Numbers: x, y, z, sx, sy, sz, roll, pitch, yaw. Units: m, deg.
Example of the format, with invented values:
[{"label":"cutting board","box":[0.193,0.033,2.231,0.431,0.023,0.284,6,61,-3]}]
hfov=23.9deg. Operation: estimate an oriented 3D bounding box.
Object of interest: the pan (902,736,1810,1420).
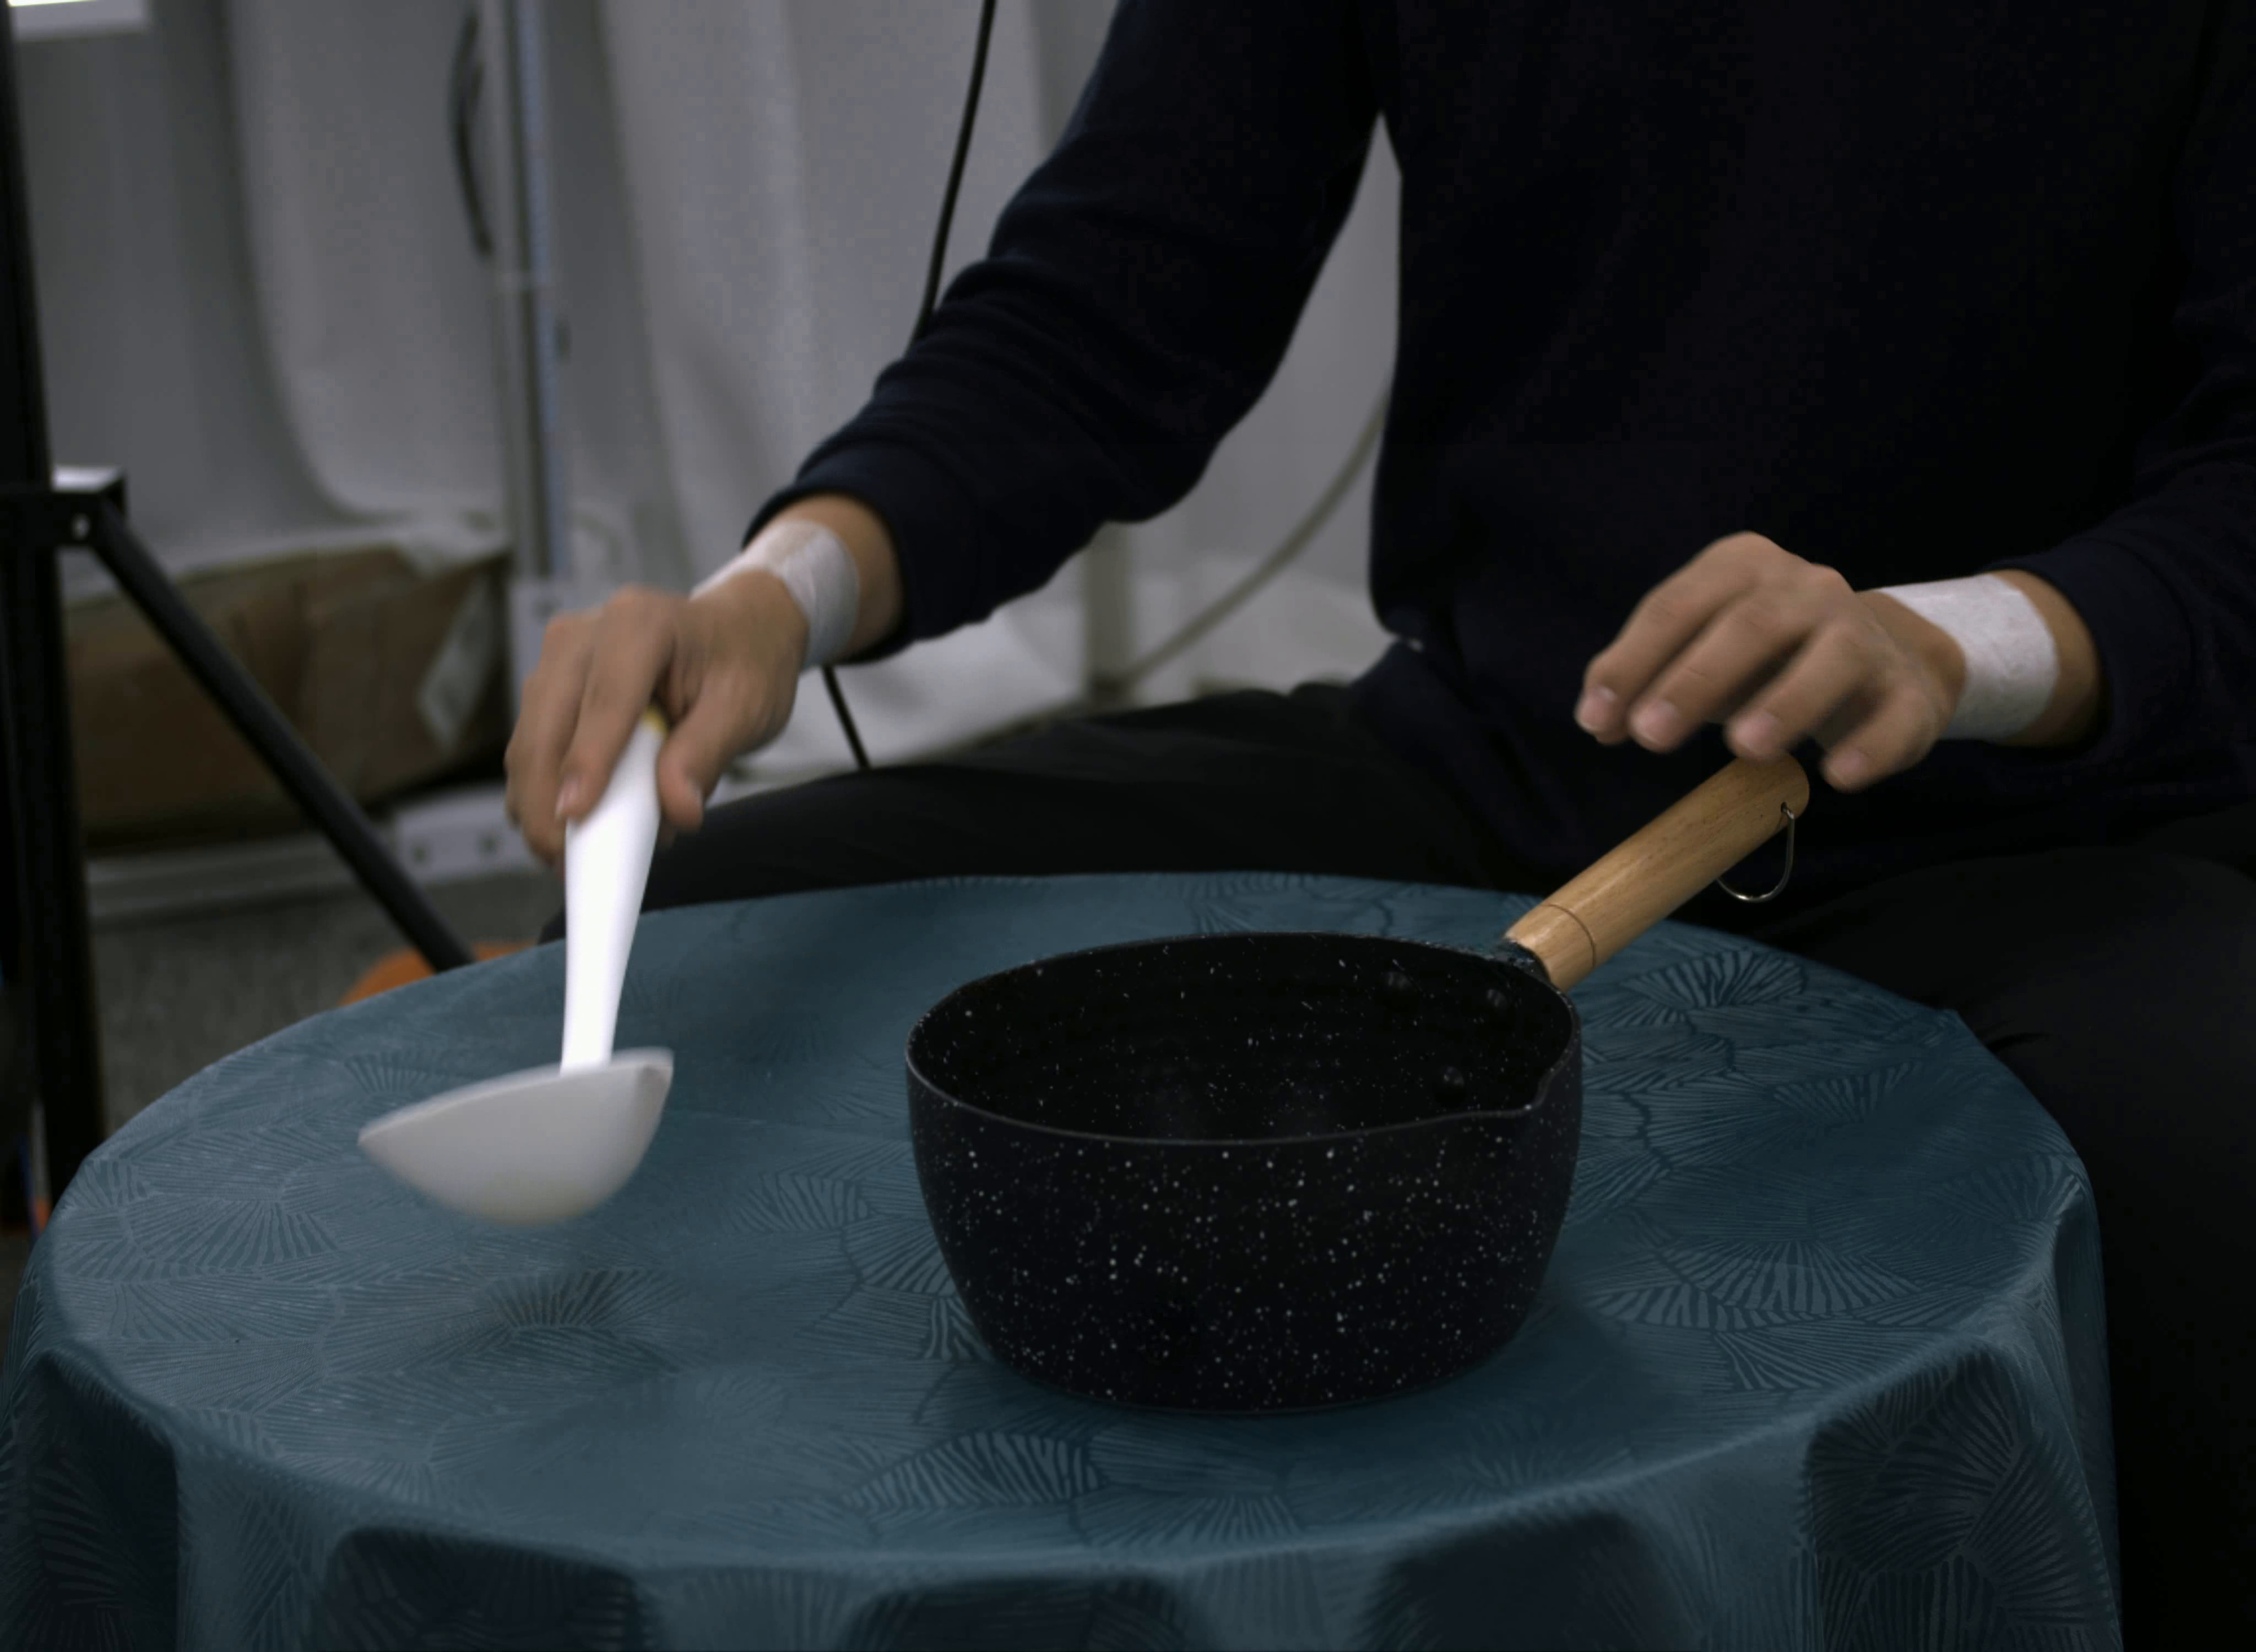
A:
[{"label":"pan","box":[0.084,0.066,1.495,0.212,0.108,0.335,10,22,41]}]

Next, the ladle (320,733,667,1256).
[{"label":"ladle","box":[-0.173,0.037,1.574,0.090,0.069,0.295,-22,26,13]}]
